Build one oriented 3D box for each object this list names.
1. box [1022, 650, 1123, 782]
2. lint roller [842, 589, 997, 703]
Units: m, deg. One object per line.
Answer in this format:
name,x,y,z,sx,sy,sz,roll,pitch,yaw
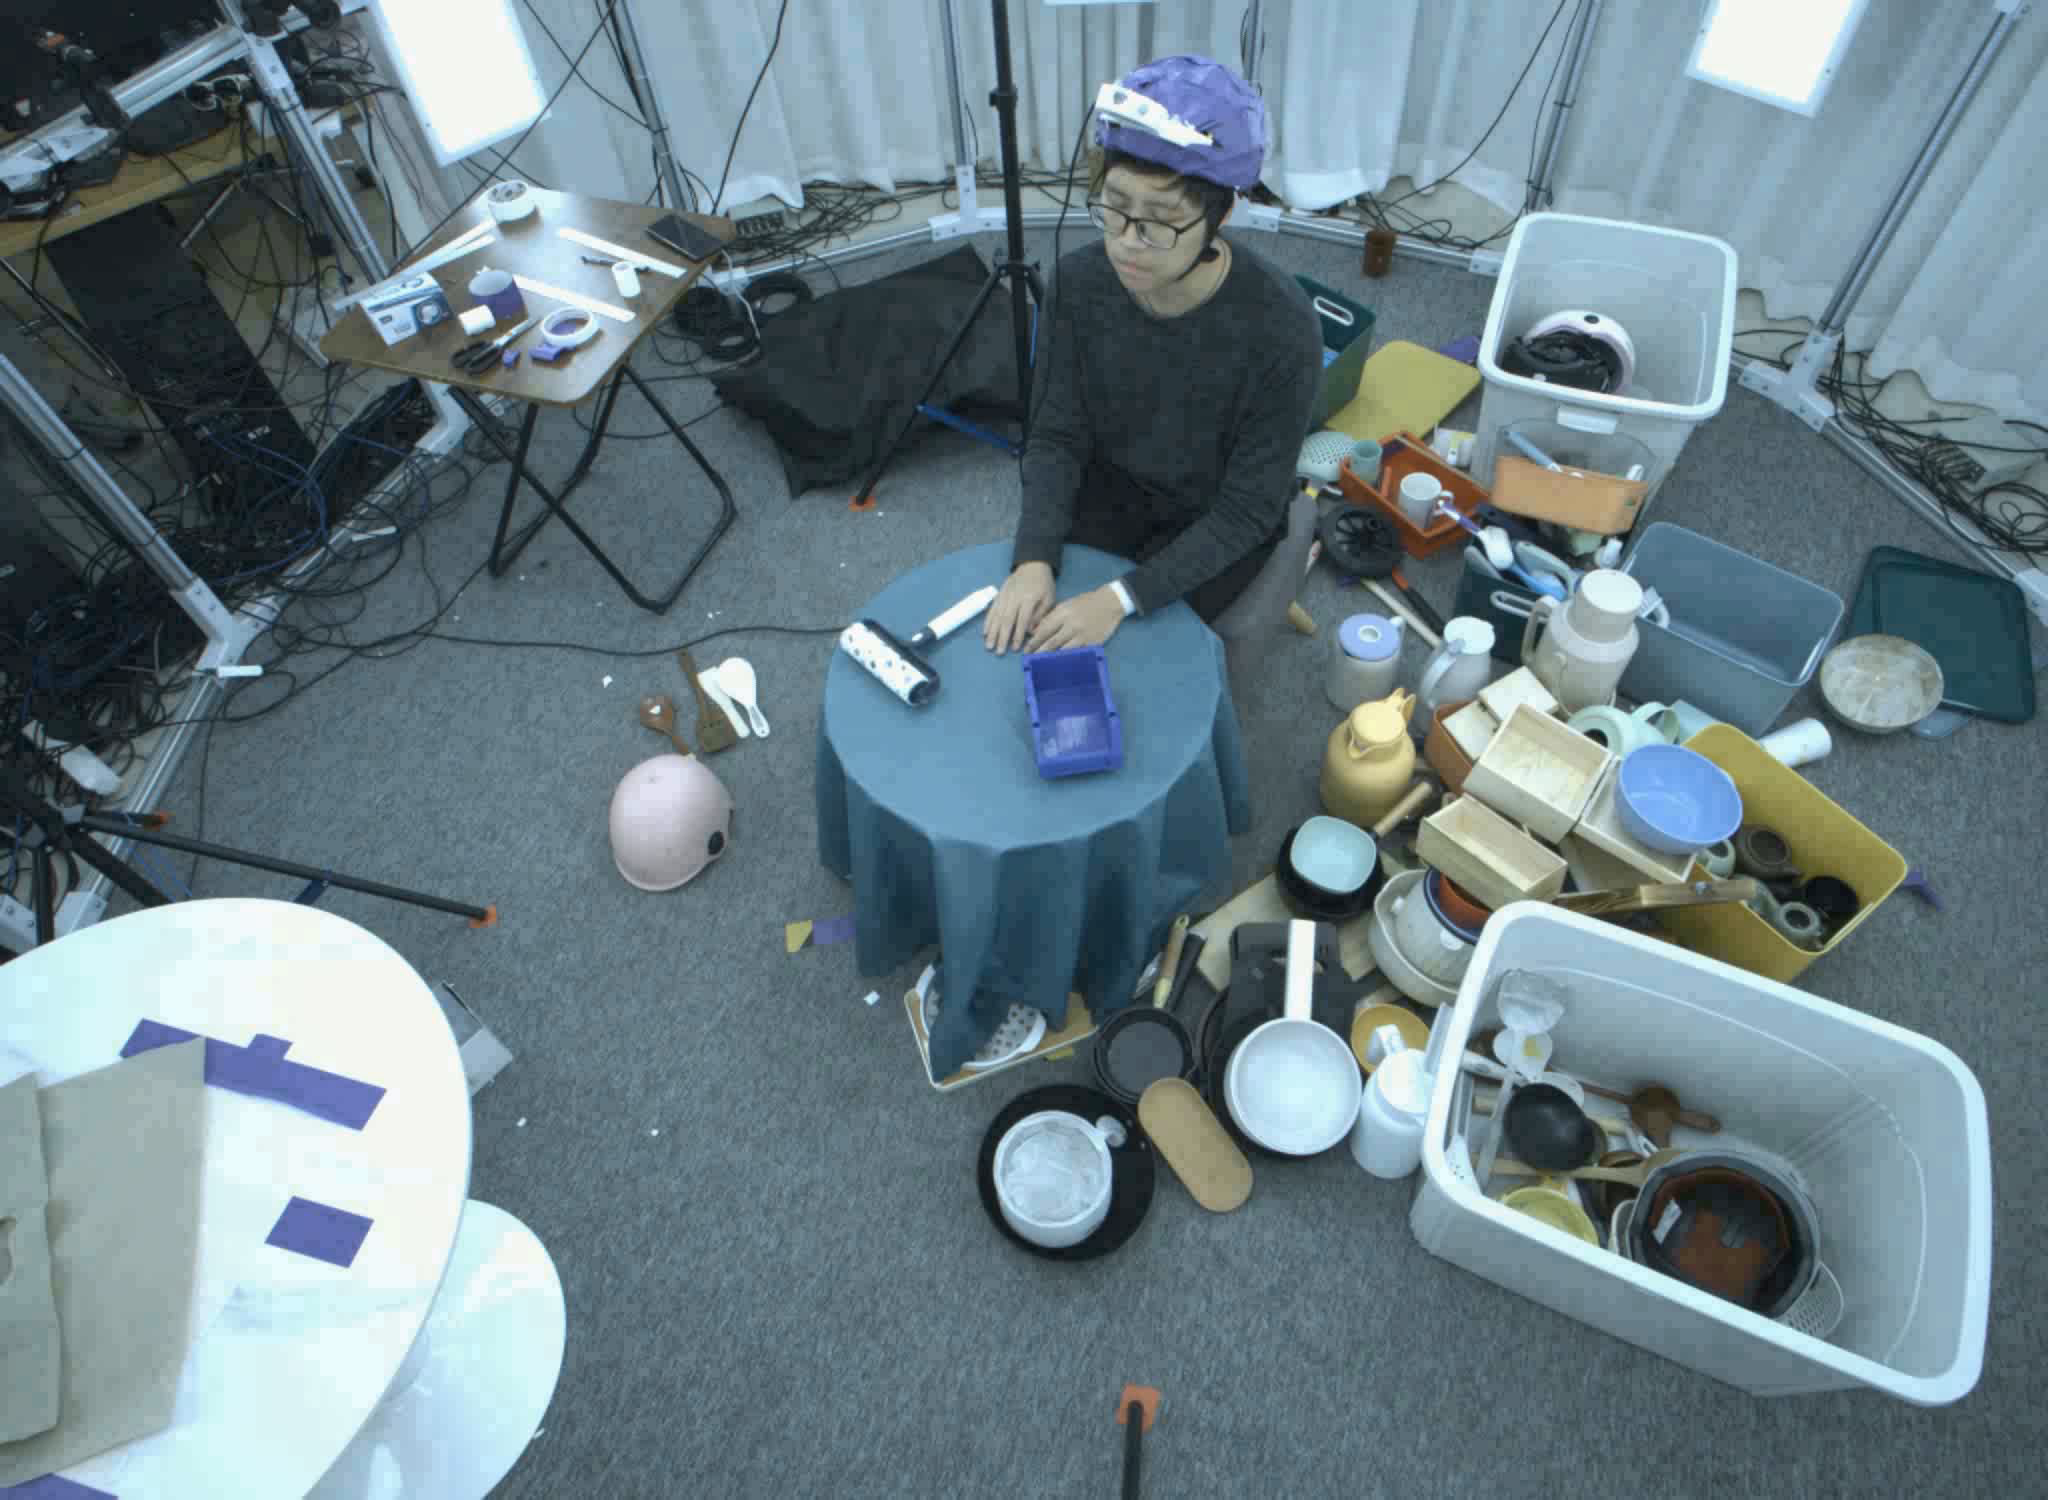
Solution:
box,0.071,-0.045,1.767,0.125,0.083,0.177,-7,52,-3
lint roller,-0.139,-0.189,1.900,0.249,0.051,0.173,-38,61,-24
